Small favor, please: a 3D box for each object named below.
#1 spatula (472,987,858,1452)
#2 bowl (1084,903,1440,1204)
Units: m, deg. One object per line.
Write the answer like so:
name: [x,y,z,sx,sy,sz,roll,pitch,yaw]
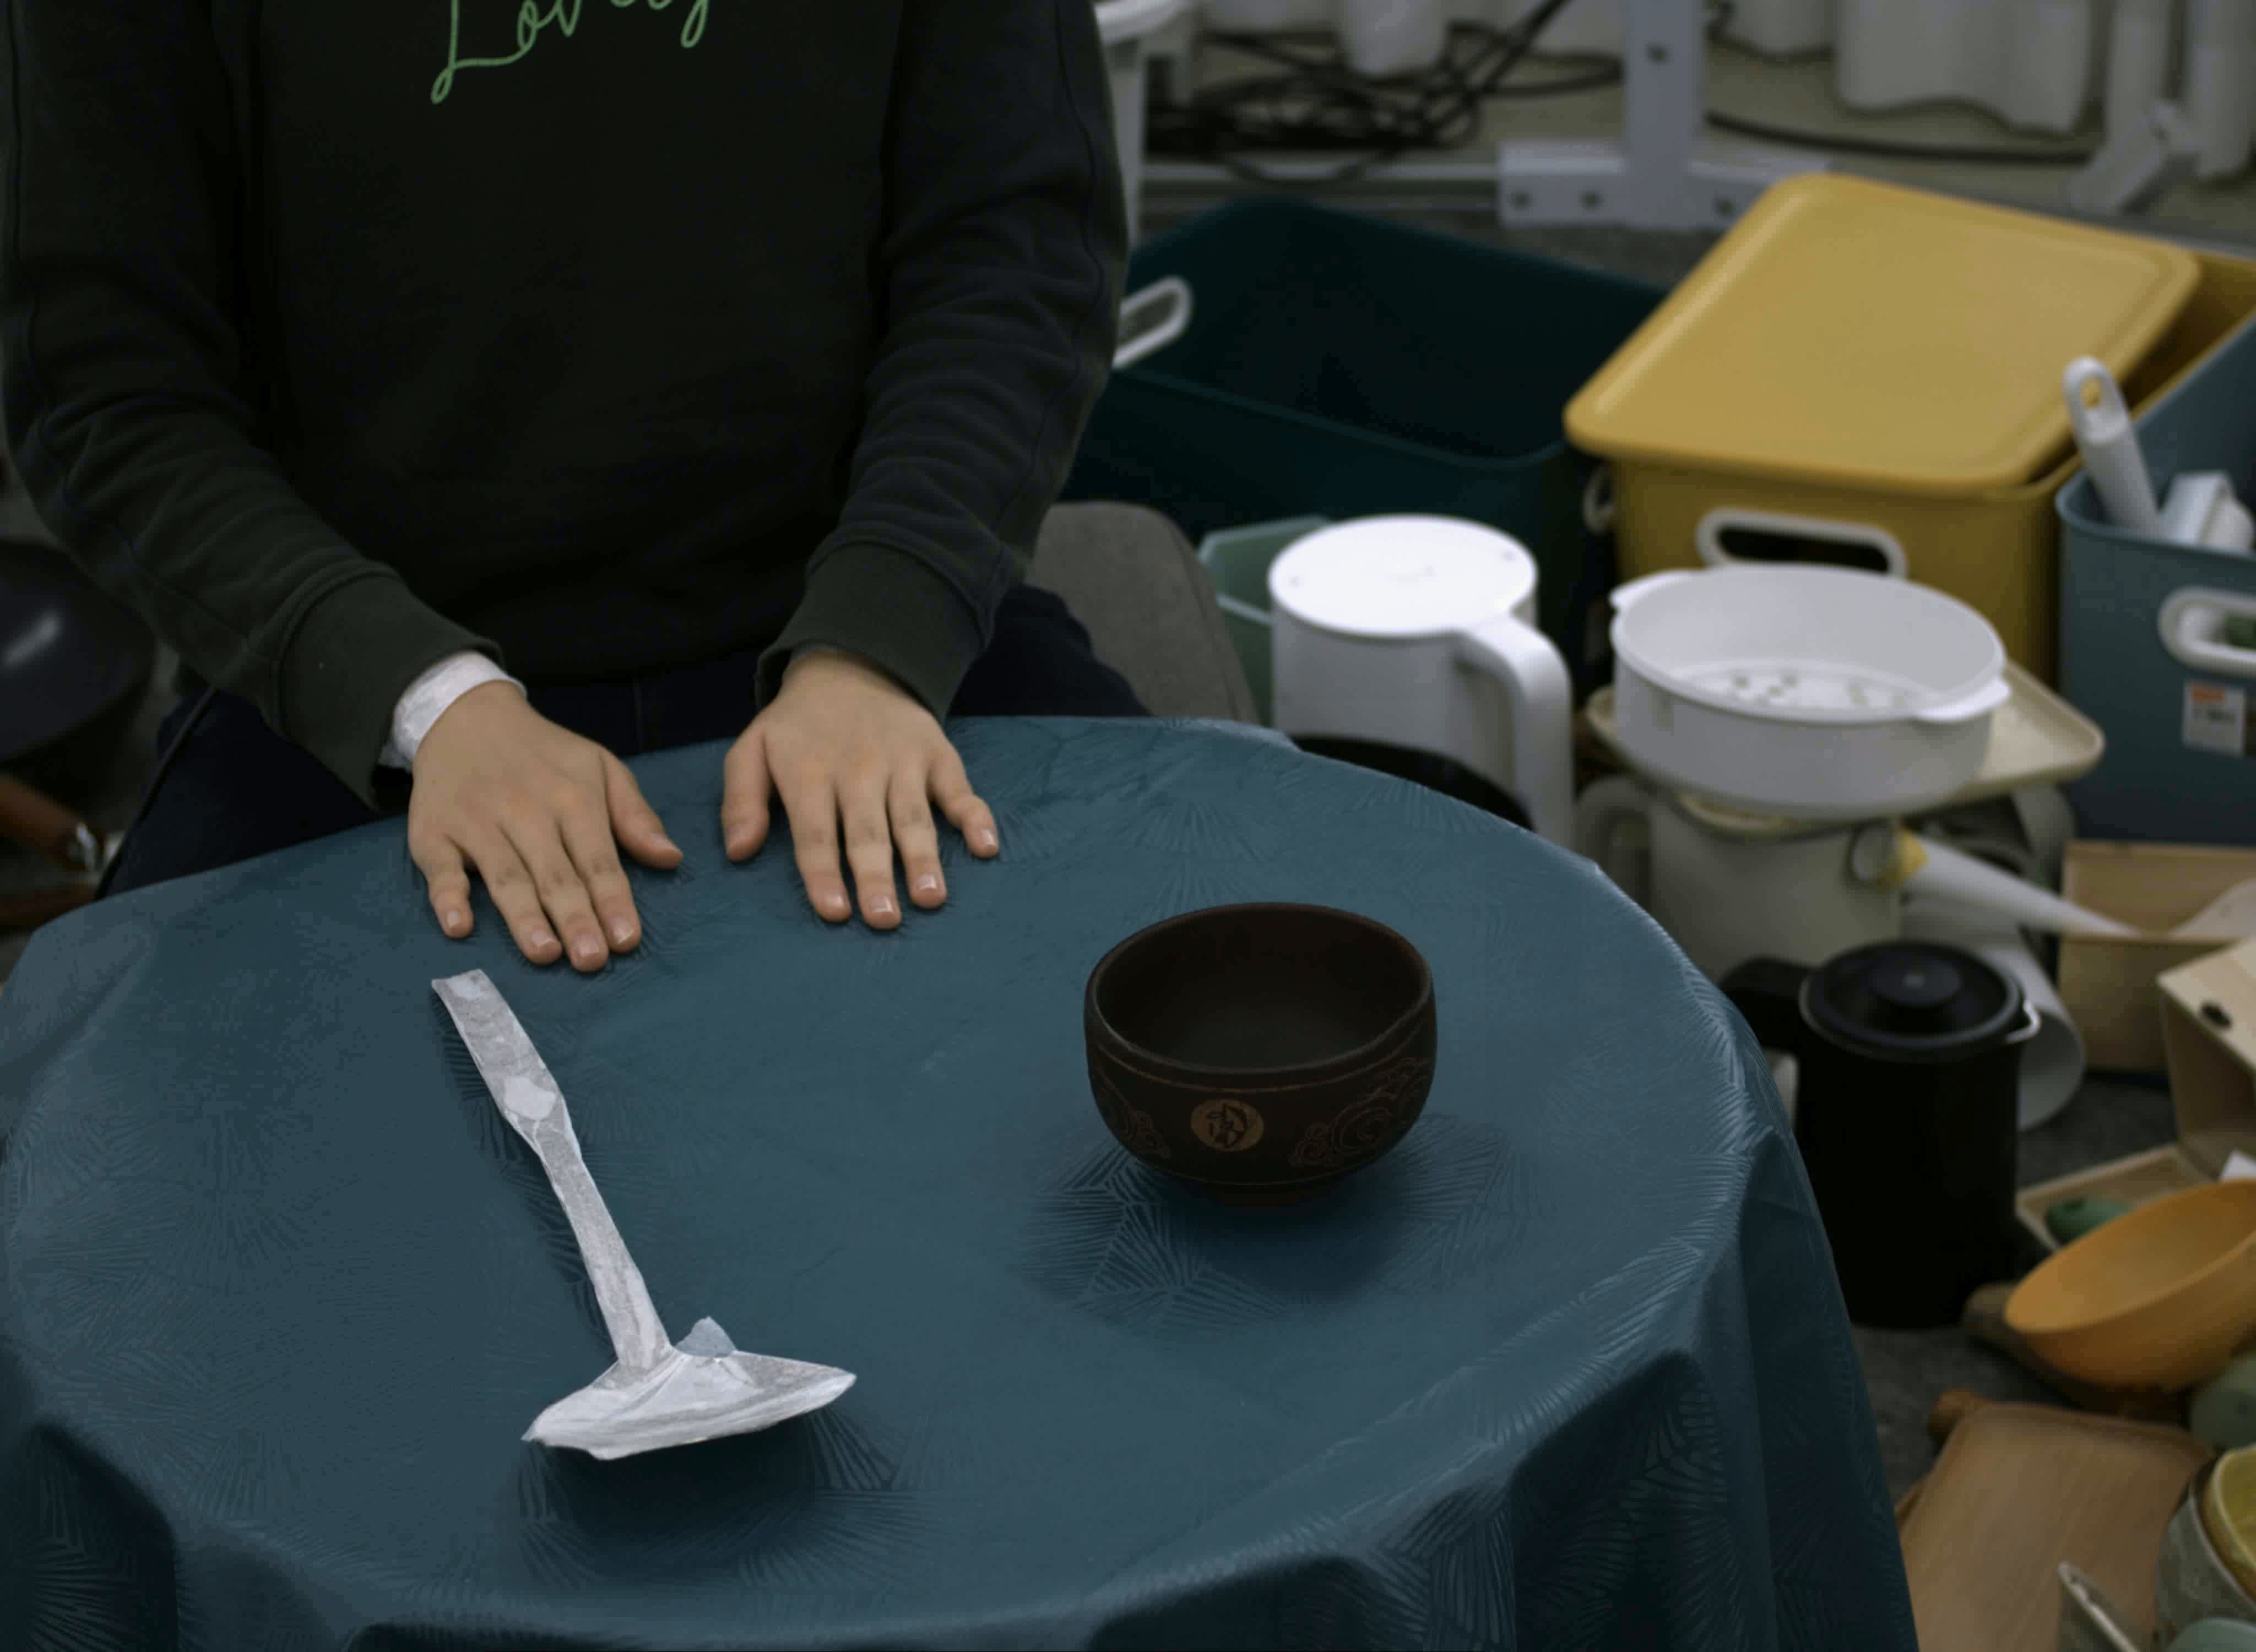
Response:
spatula: [-0.175,0.120,1.839,0.099,0.044,0.368,-12,29,-14]
bowl: [0.045,0.082,1.858,0.117,0.069,0.119,-2,25,1]
